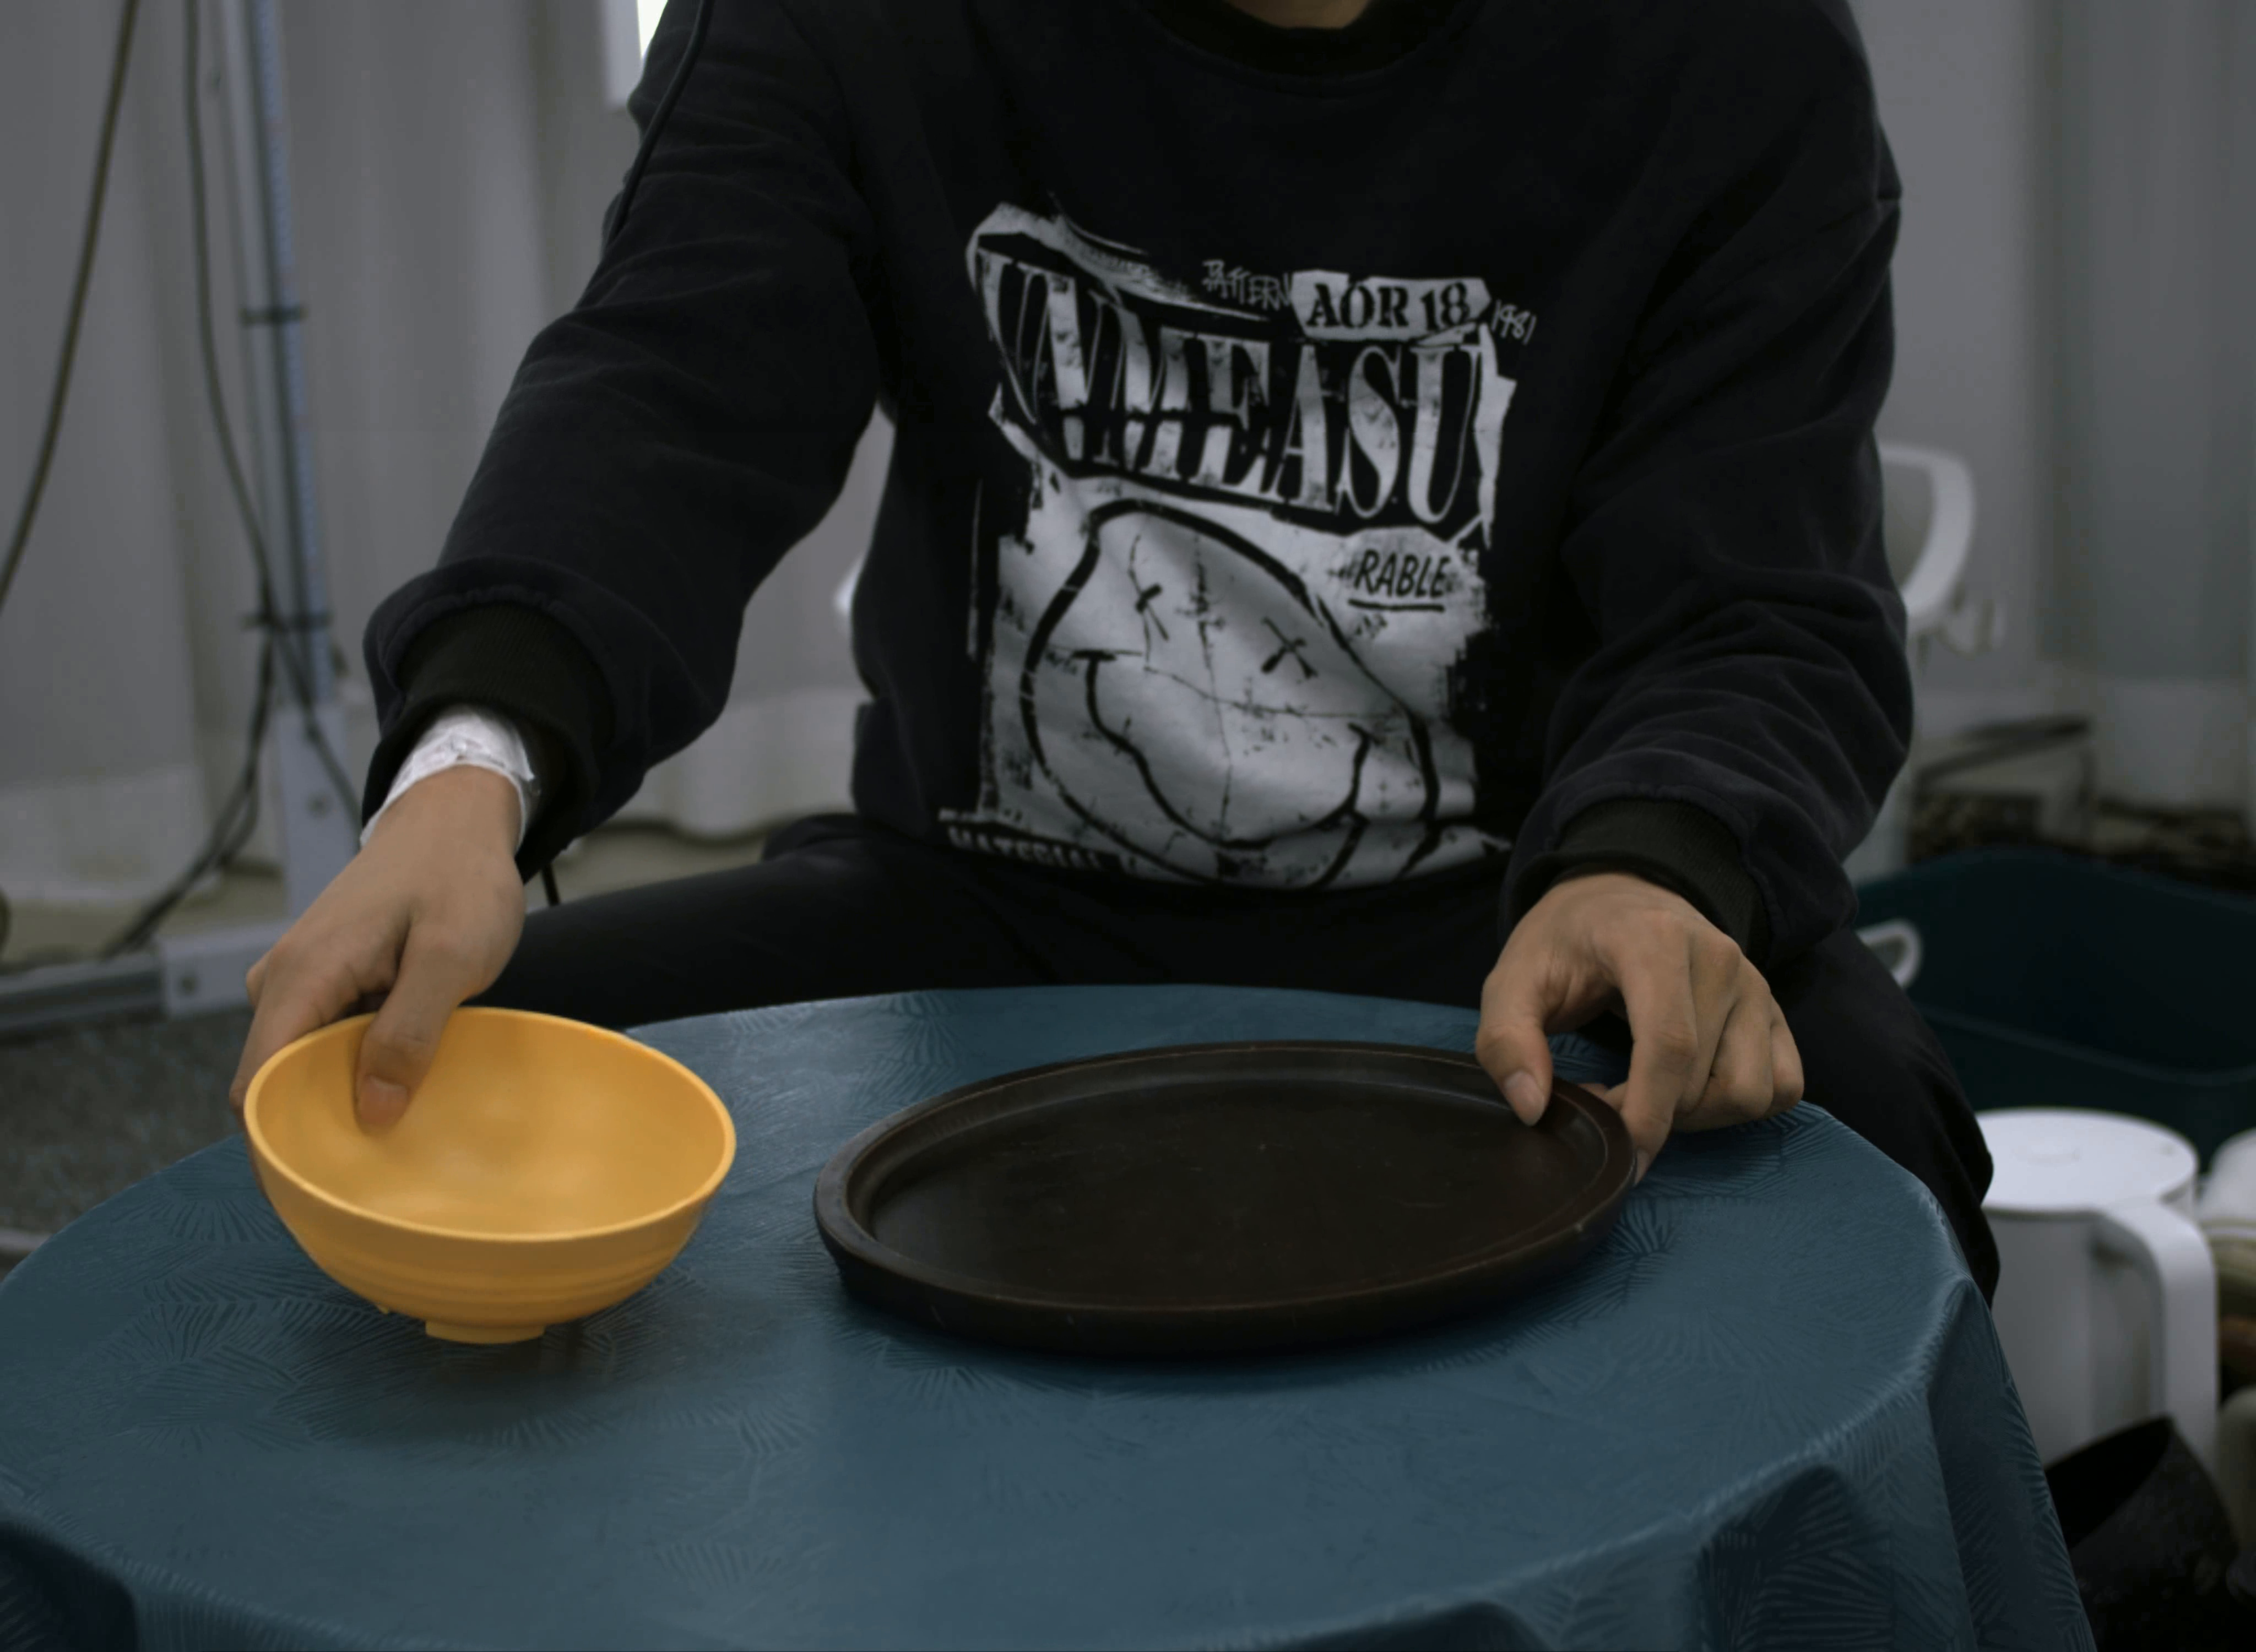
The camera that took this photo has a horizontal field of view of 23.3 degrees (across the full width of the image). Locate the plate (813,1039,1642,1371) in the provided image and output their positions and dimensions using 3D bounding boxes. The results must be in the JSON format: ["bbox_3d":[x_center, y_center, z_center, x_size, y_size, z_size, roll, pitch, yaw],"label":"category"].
[{"bbox_3d":[0.030,0.113,1.667,0.254,0.029,0.256,-5,14,1],"label":"plate"}]

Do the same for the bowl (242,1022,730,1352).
[{"bbox_3d":[-0.192,0.115,1.621,0.145,0.060,0.147,7,21,-3],"label":"bowl"}]
